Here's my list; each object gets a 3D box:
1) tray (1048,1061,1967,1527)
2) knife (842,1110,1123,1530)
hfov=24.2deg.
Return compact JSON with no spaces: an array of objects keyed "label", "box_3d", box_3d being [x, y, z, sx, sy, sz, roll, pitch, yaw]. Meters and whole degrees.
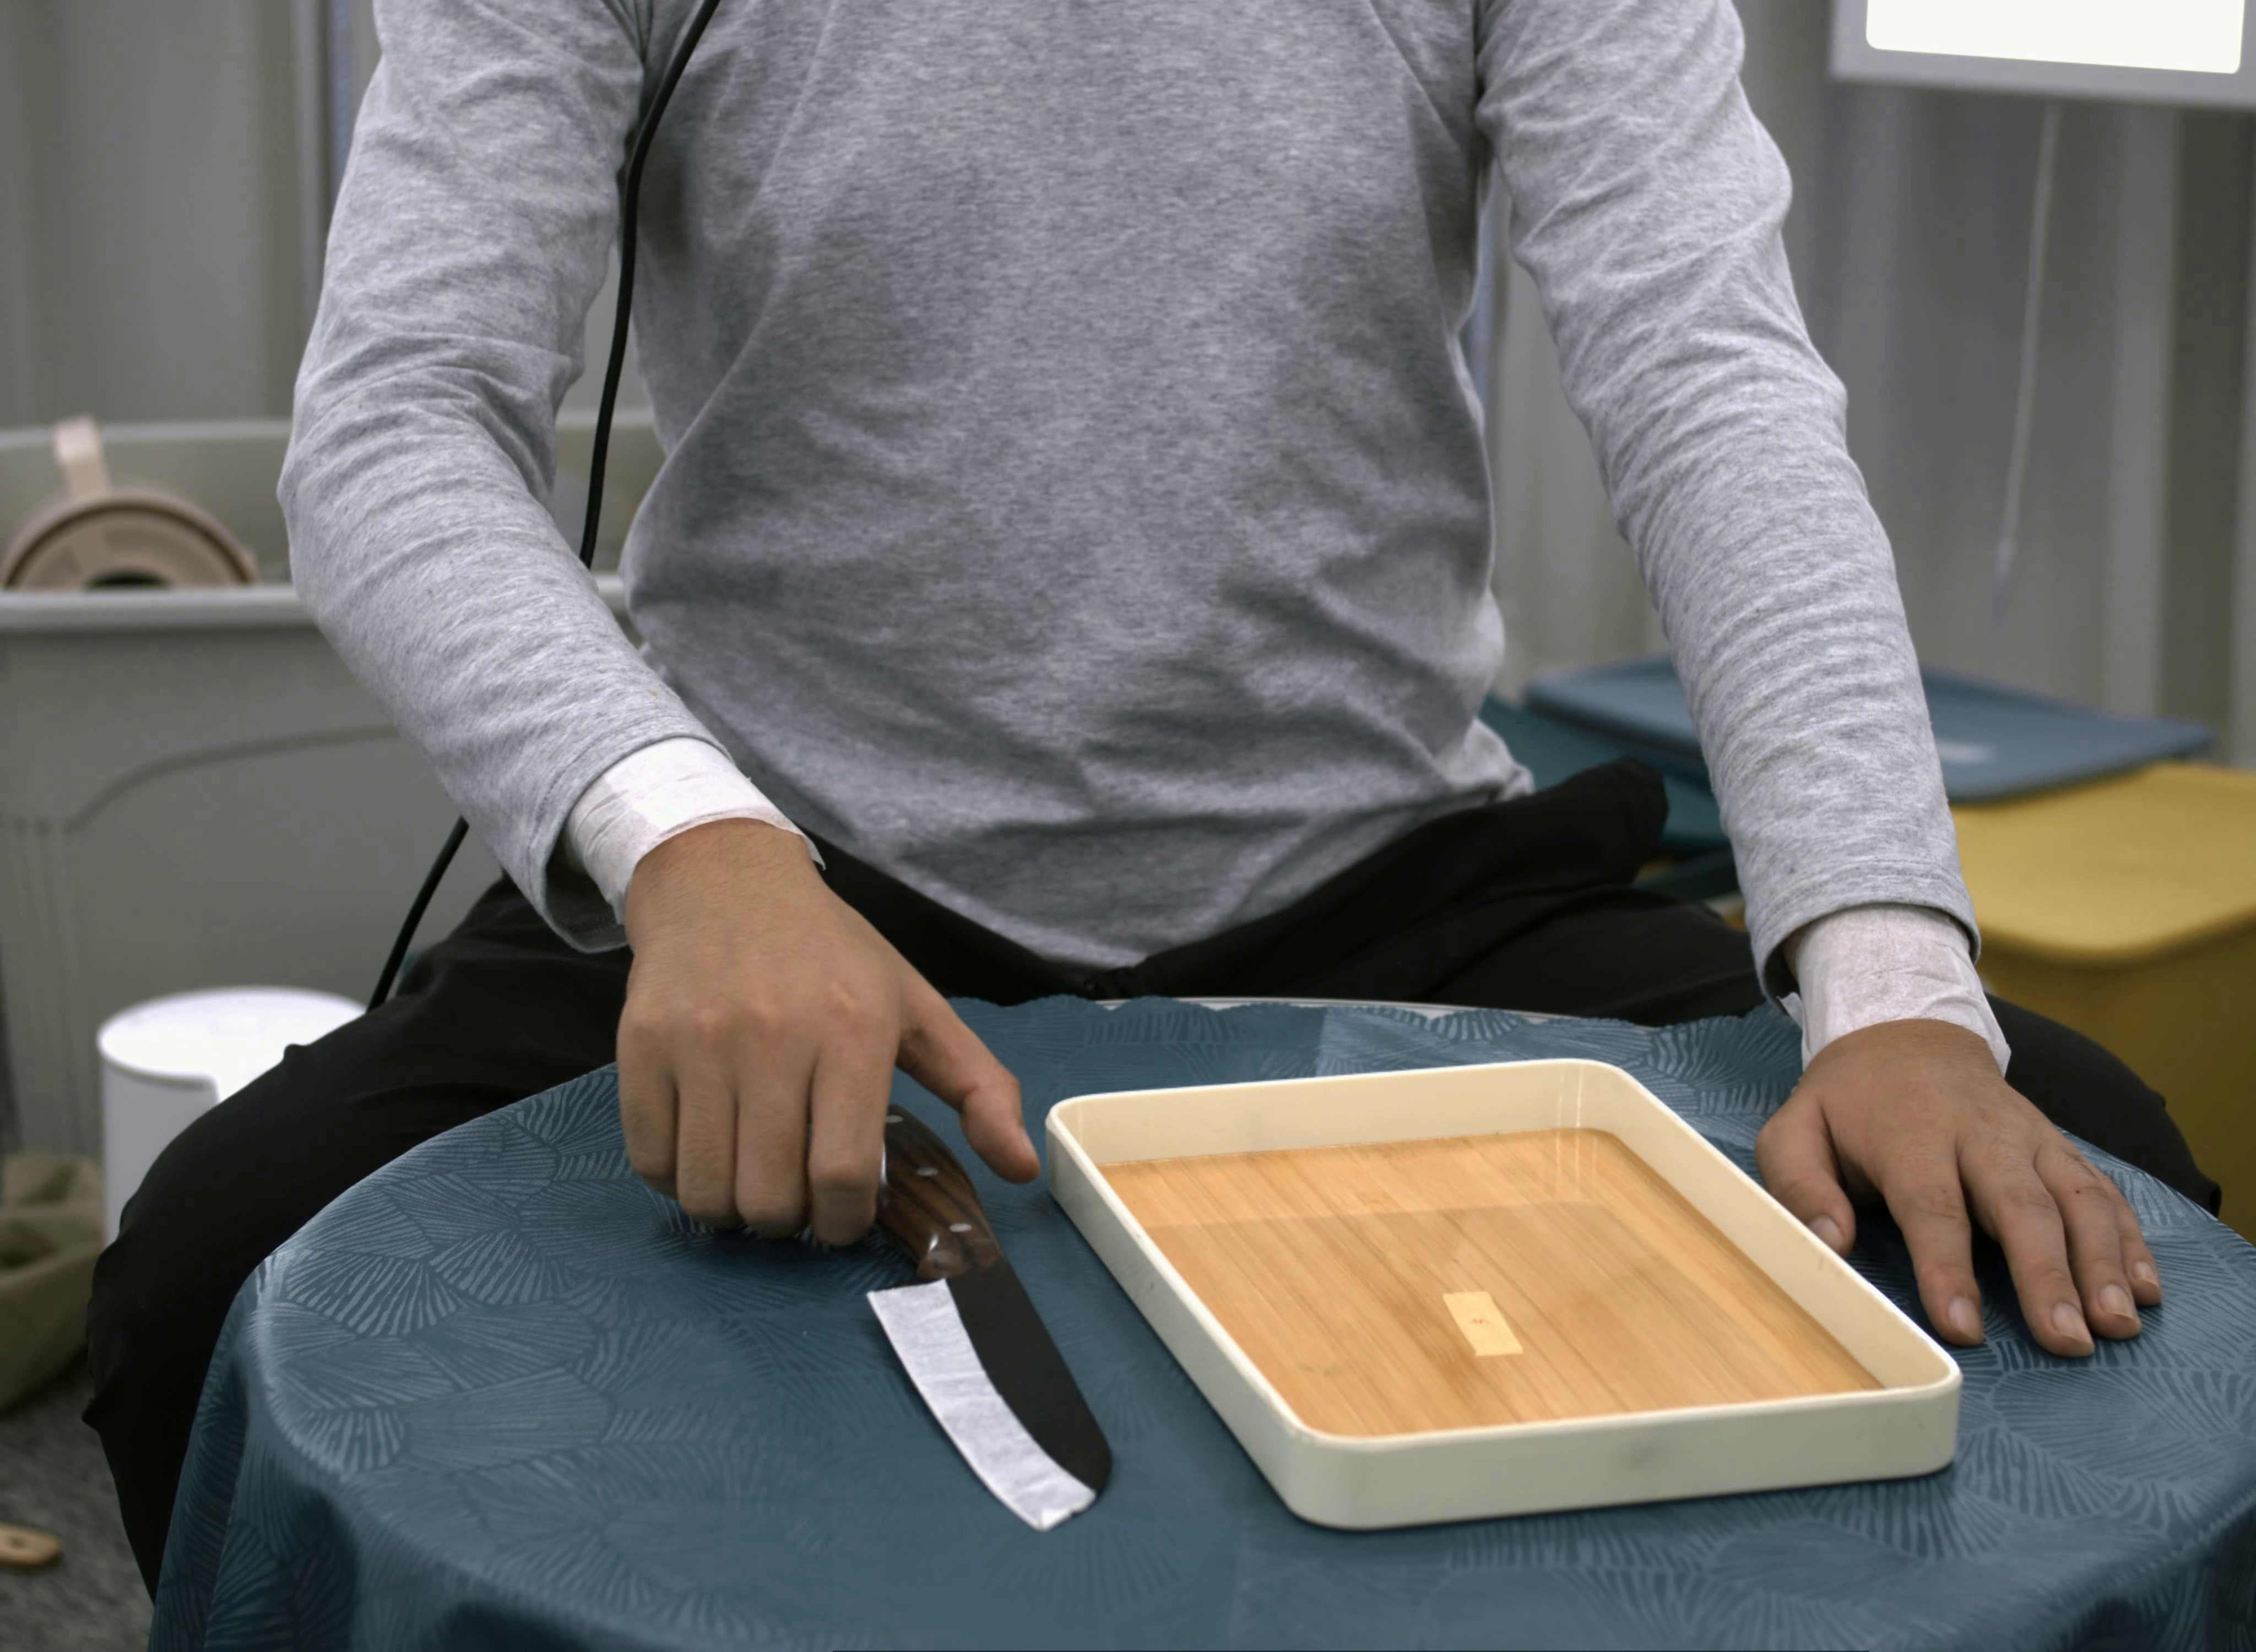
[{"label":"tray","box_3d":[0.100,0.129,1.519,0.192,0.027,0.297,-3,16,-14]},{"label":"knife","box_3d":[-0.047,0.139,1.499,0.050,0.020,0.286,-8,19,-10]}]
